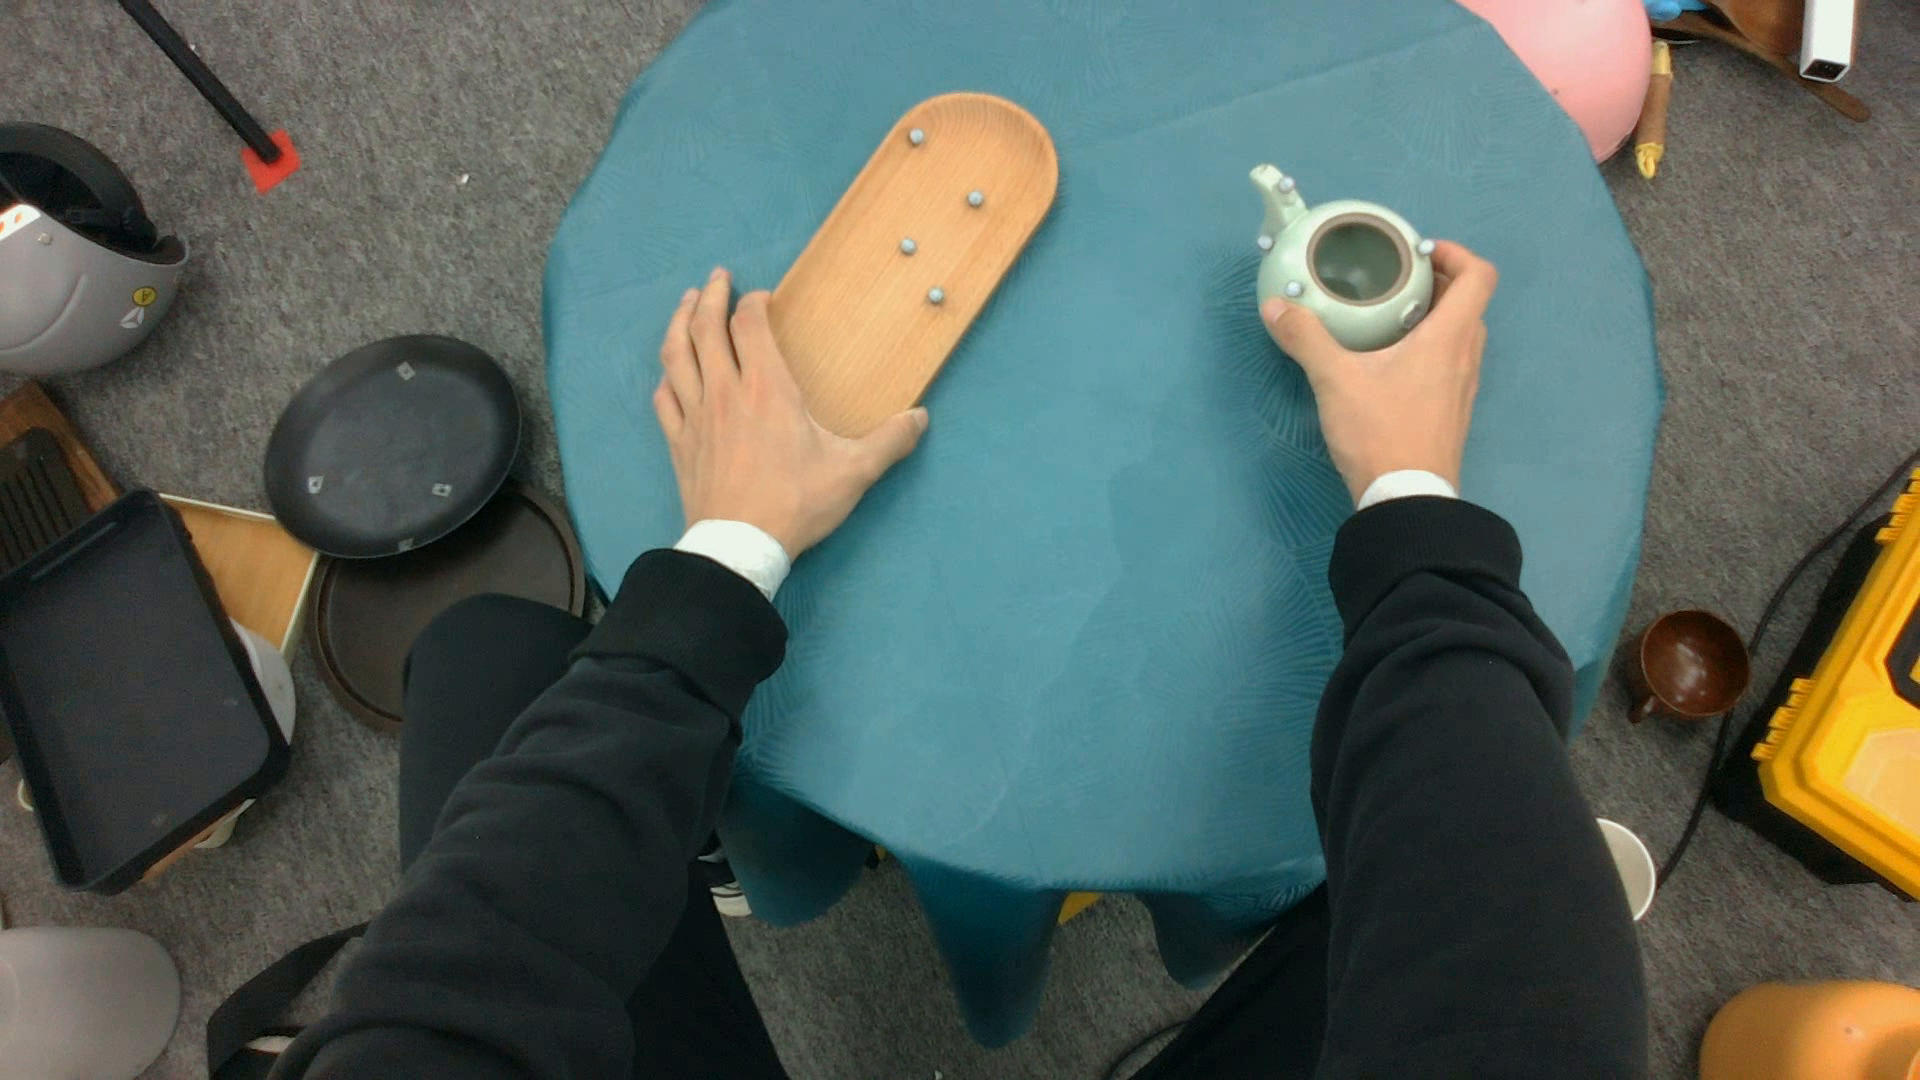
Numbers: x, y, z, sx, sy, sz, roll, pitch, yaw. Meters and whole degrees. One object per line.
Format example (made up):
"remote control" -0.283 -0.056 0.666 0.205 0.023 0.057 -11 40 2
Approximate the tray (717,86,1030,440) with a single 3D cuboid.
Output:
"tray" -0.045 -0.154 0.756 0.101 0.020 0.232 30 76 10

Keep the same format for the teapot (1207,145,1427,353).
"teapot" 0.180 -0.145 0.726 0.088 0.074 0.144 -43 78 -12
